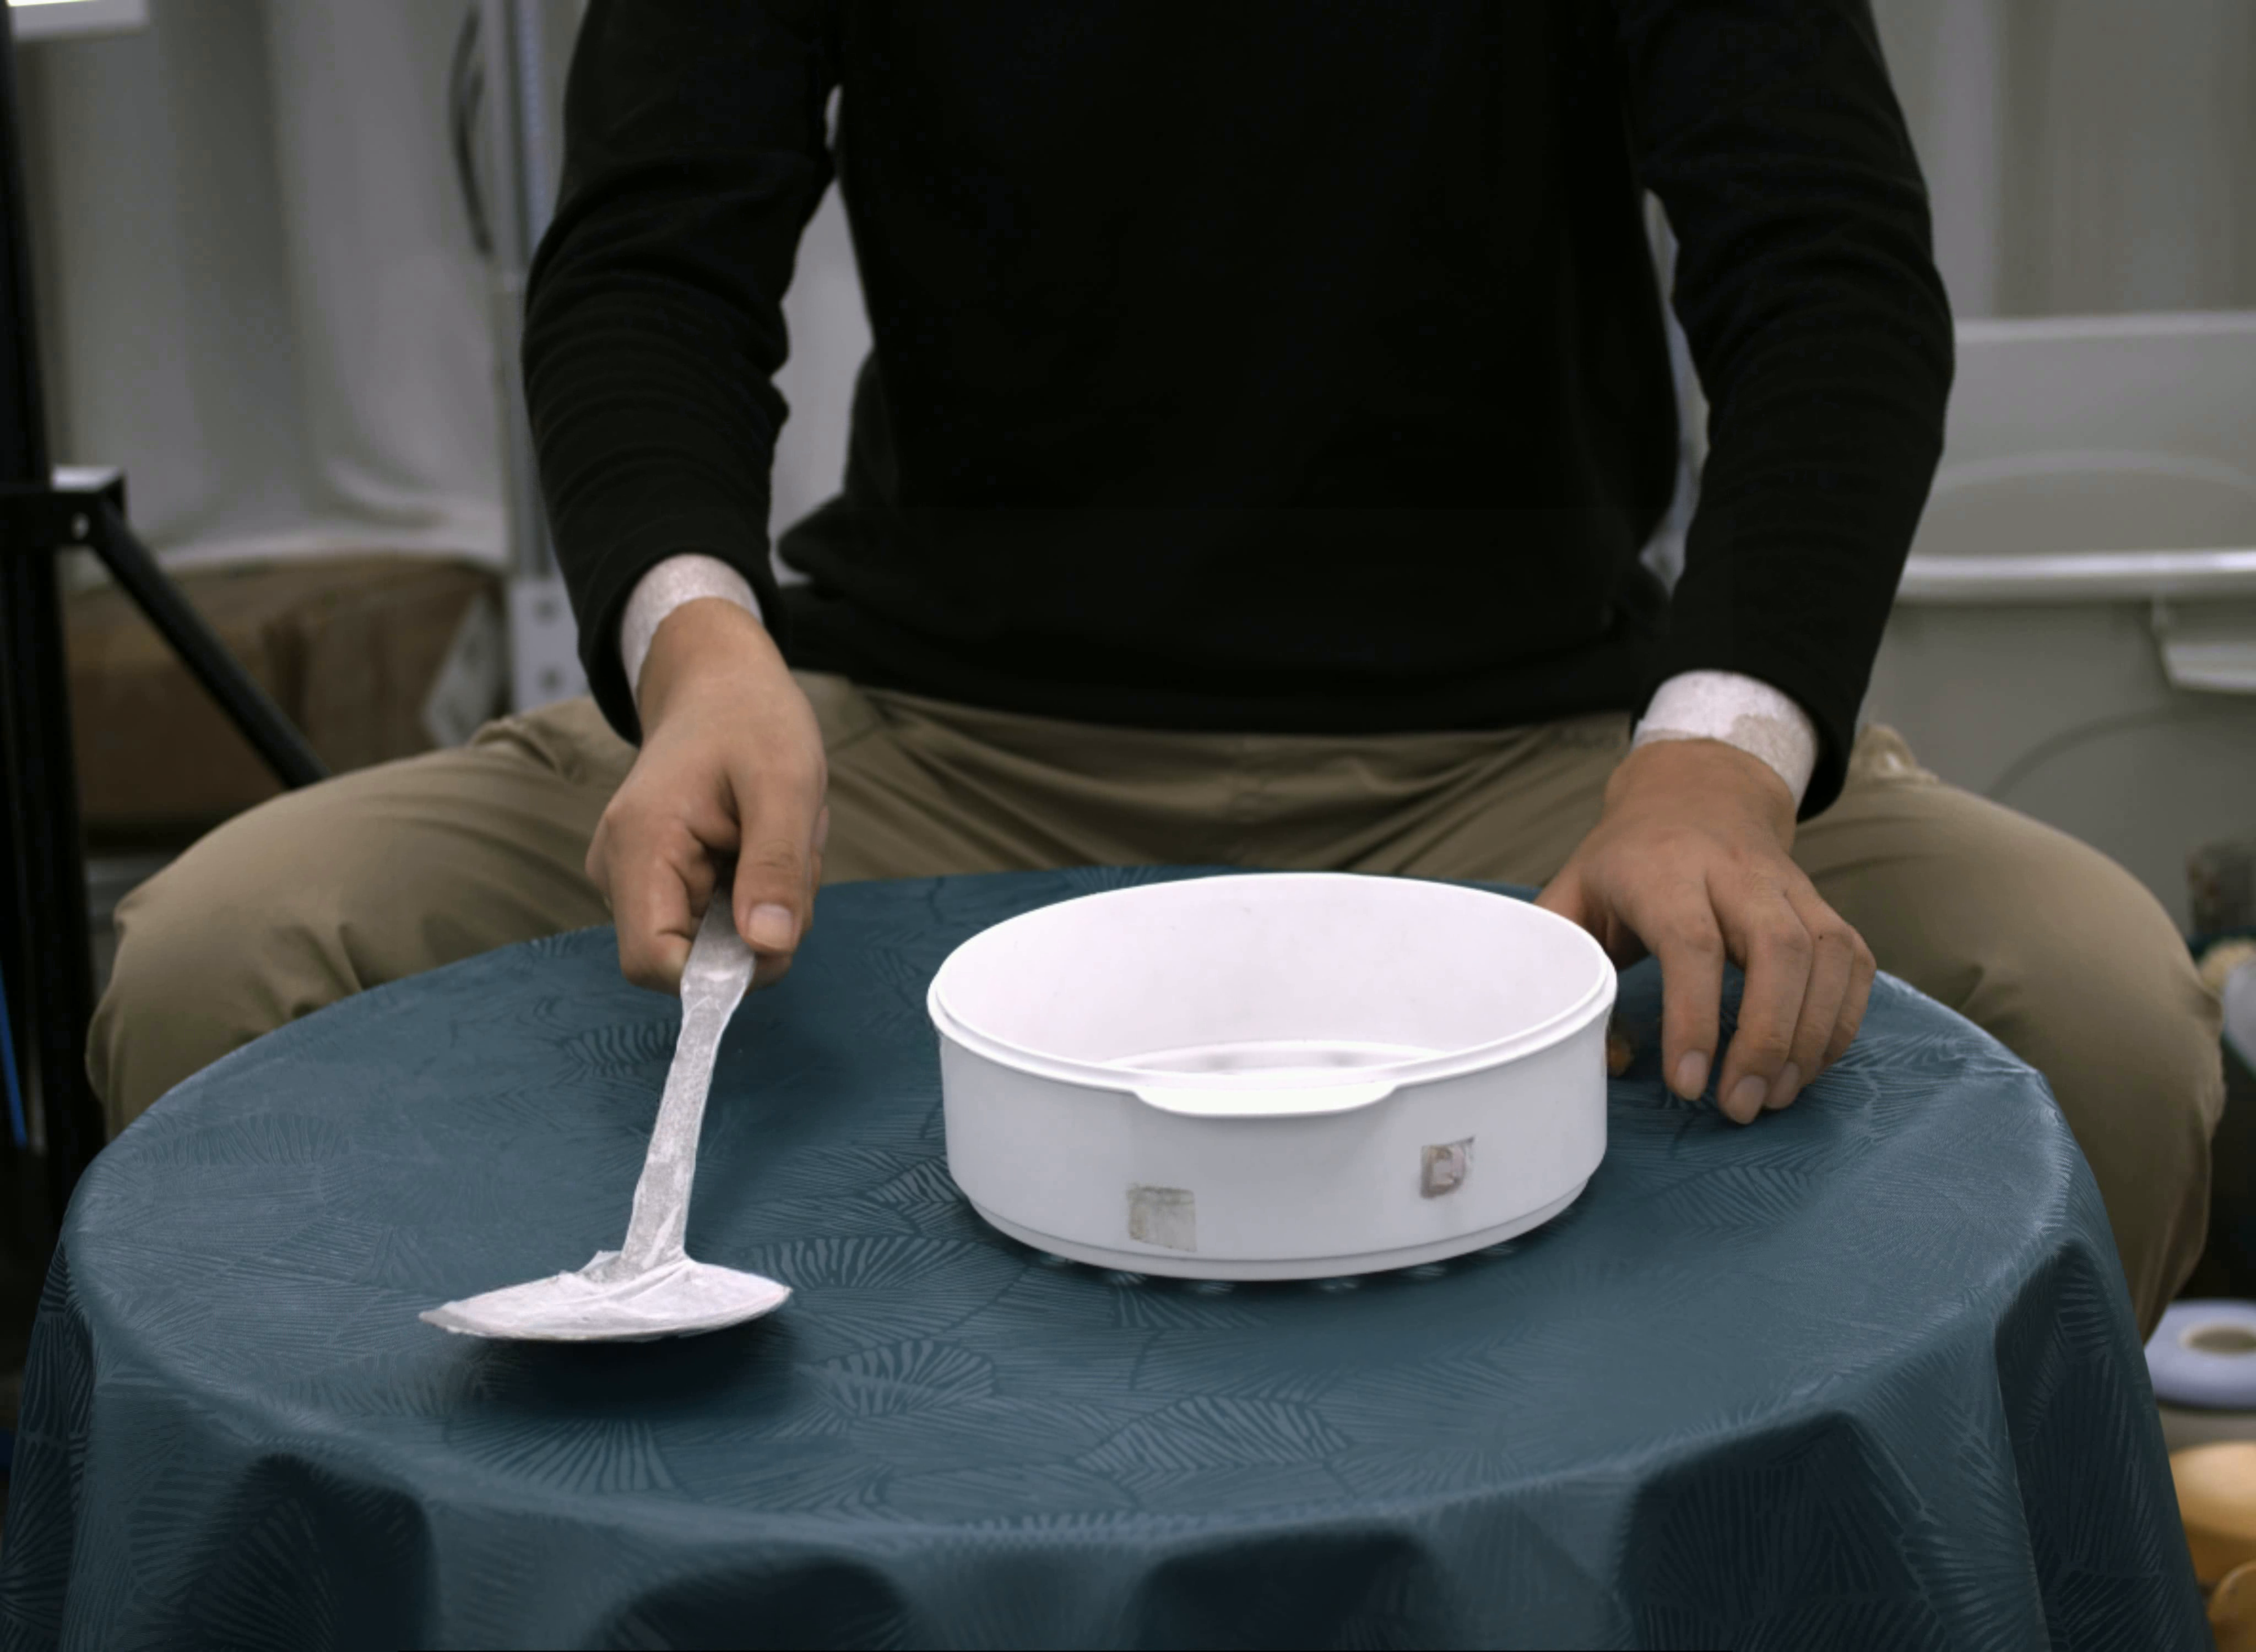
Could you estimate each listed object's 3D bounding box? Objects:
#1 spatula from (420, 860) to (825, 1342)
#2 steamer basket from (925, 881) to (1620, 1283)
[{"bbox_3d":[-0.127,0.073,1.569,0.099,0.044,0.366,-5,25,7],"label":"spatula"},{"bbox_3d":[0.042,0.074,1.543,0.202,0.069,0.231,0,15,4],"label":"steamer basket"}]
